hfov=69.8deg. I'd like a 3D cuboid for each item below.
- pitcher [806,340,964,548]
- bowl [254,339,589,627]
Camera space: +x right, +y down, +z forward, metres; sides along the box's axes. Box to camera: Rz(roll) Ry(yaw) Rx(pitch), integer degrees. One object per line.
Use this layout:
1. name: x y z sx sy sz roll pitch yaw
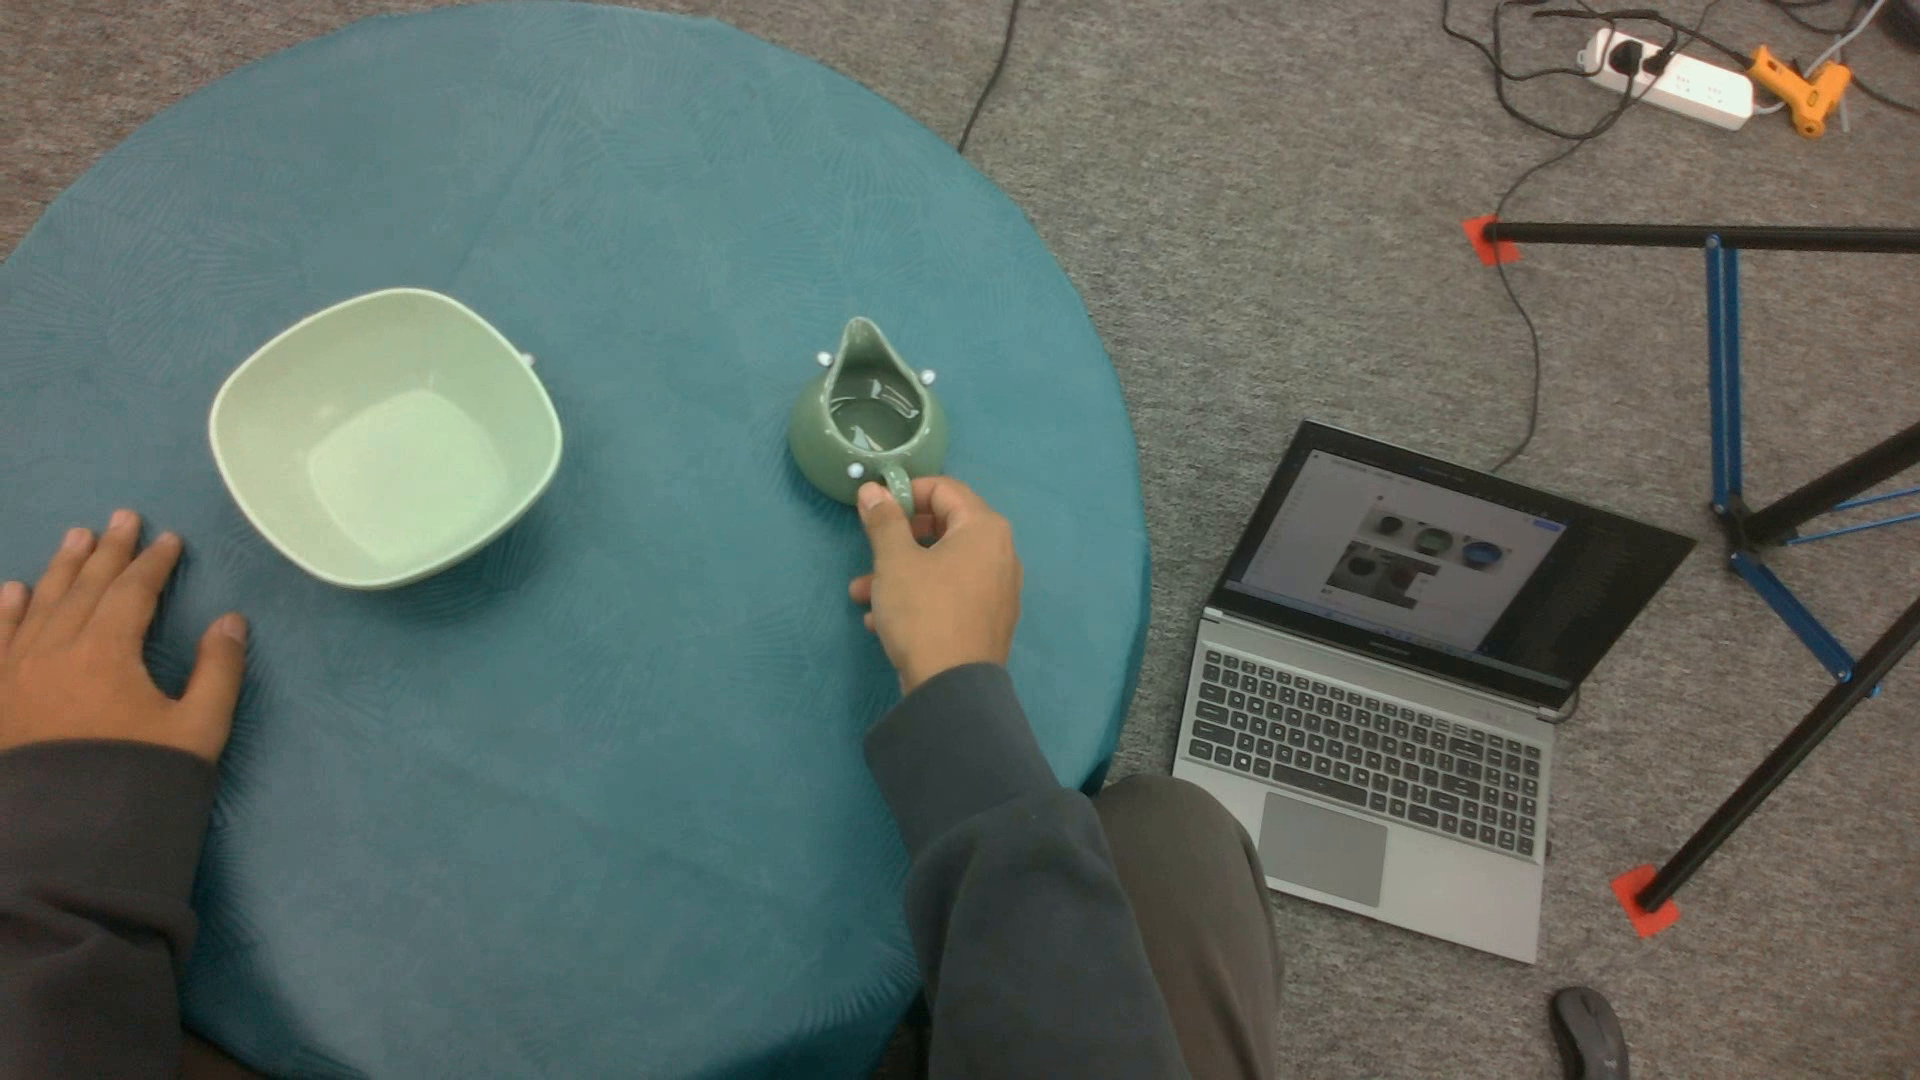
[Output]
1. pitcher: -0.036 -0.043 0.722 0.084 0.056 0.113 -13 71 -14
2. bowl: -0.257 -0.020 0.675 0.151 0.058 0.152 3 65 -7
